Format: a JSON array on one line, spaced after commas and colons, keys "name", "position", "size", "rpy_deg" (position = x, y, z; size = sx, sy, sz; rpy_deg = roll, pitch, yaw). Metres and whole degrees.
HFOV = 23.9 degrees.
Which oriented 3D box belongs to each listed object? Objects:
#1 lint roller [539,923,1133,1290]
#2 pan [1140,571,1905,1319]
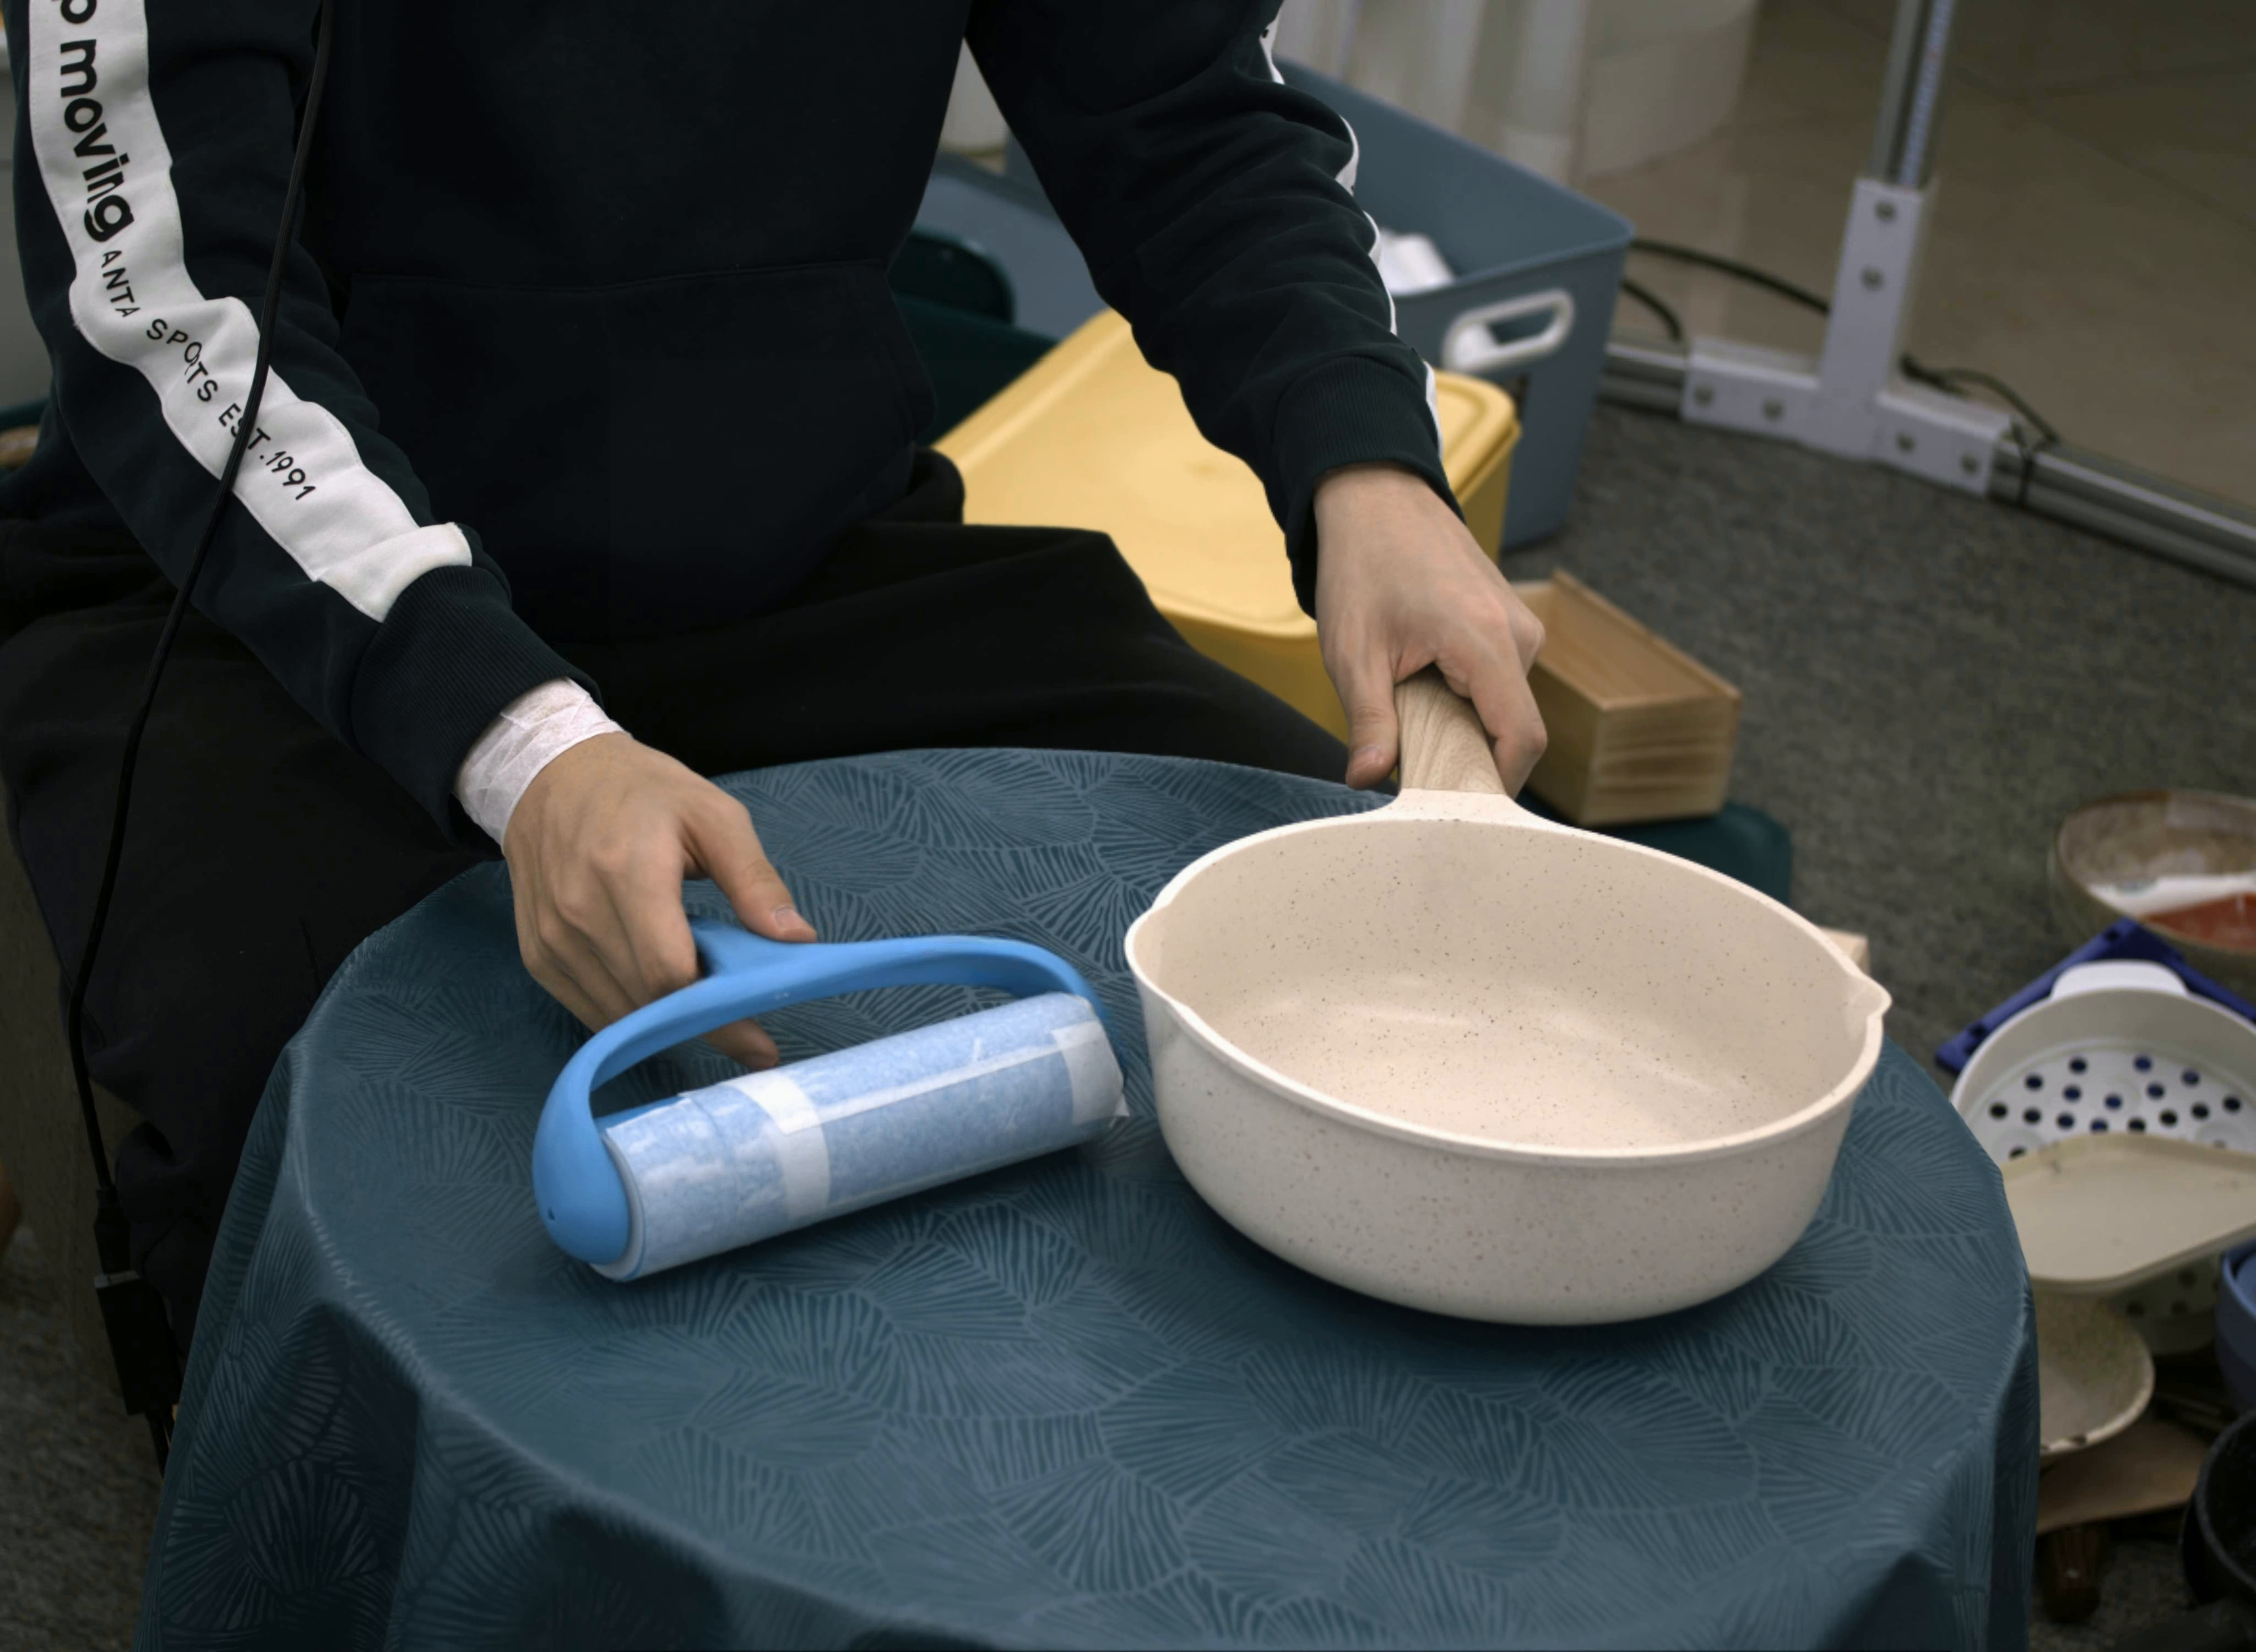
[{"name": "lint roller", "position": [-0.129, 0.071, 1.797], "size": [0.228, 0.067, 0.182], "rpy_deg": [-18, 43, -36]}, {"name": "pan", "position": [0.121, 0.039, 1.883], "size": [0.262, 0.102, 0.438], "rpy_deg": [2, 25, -7]}]
